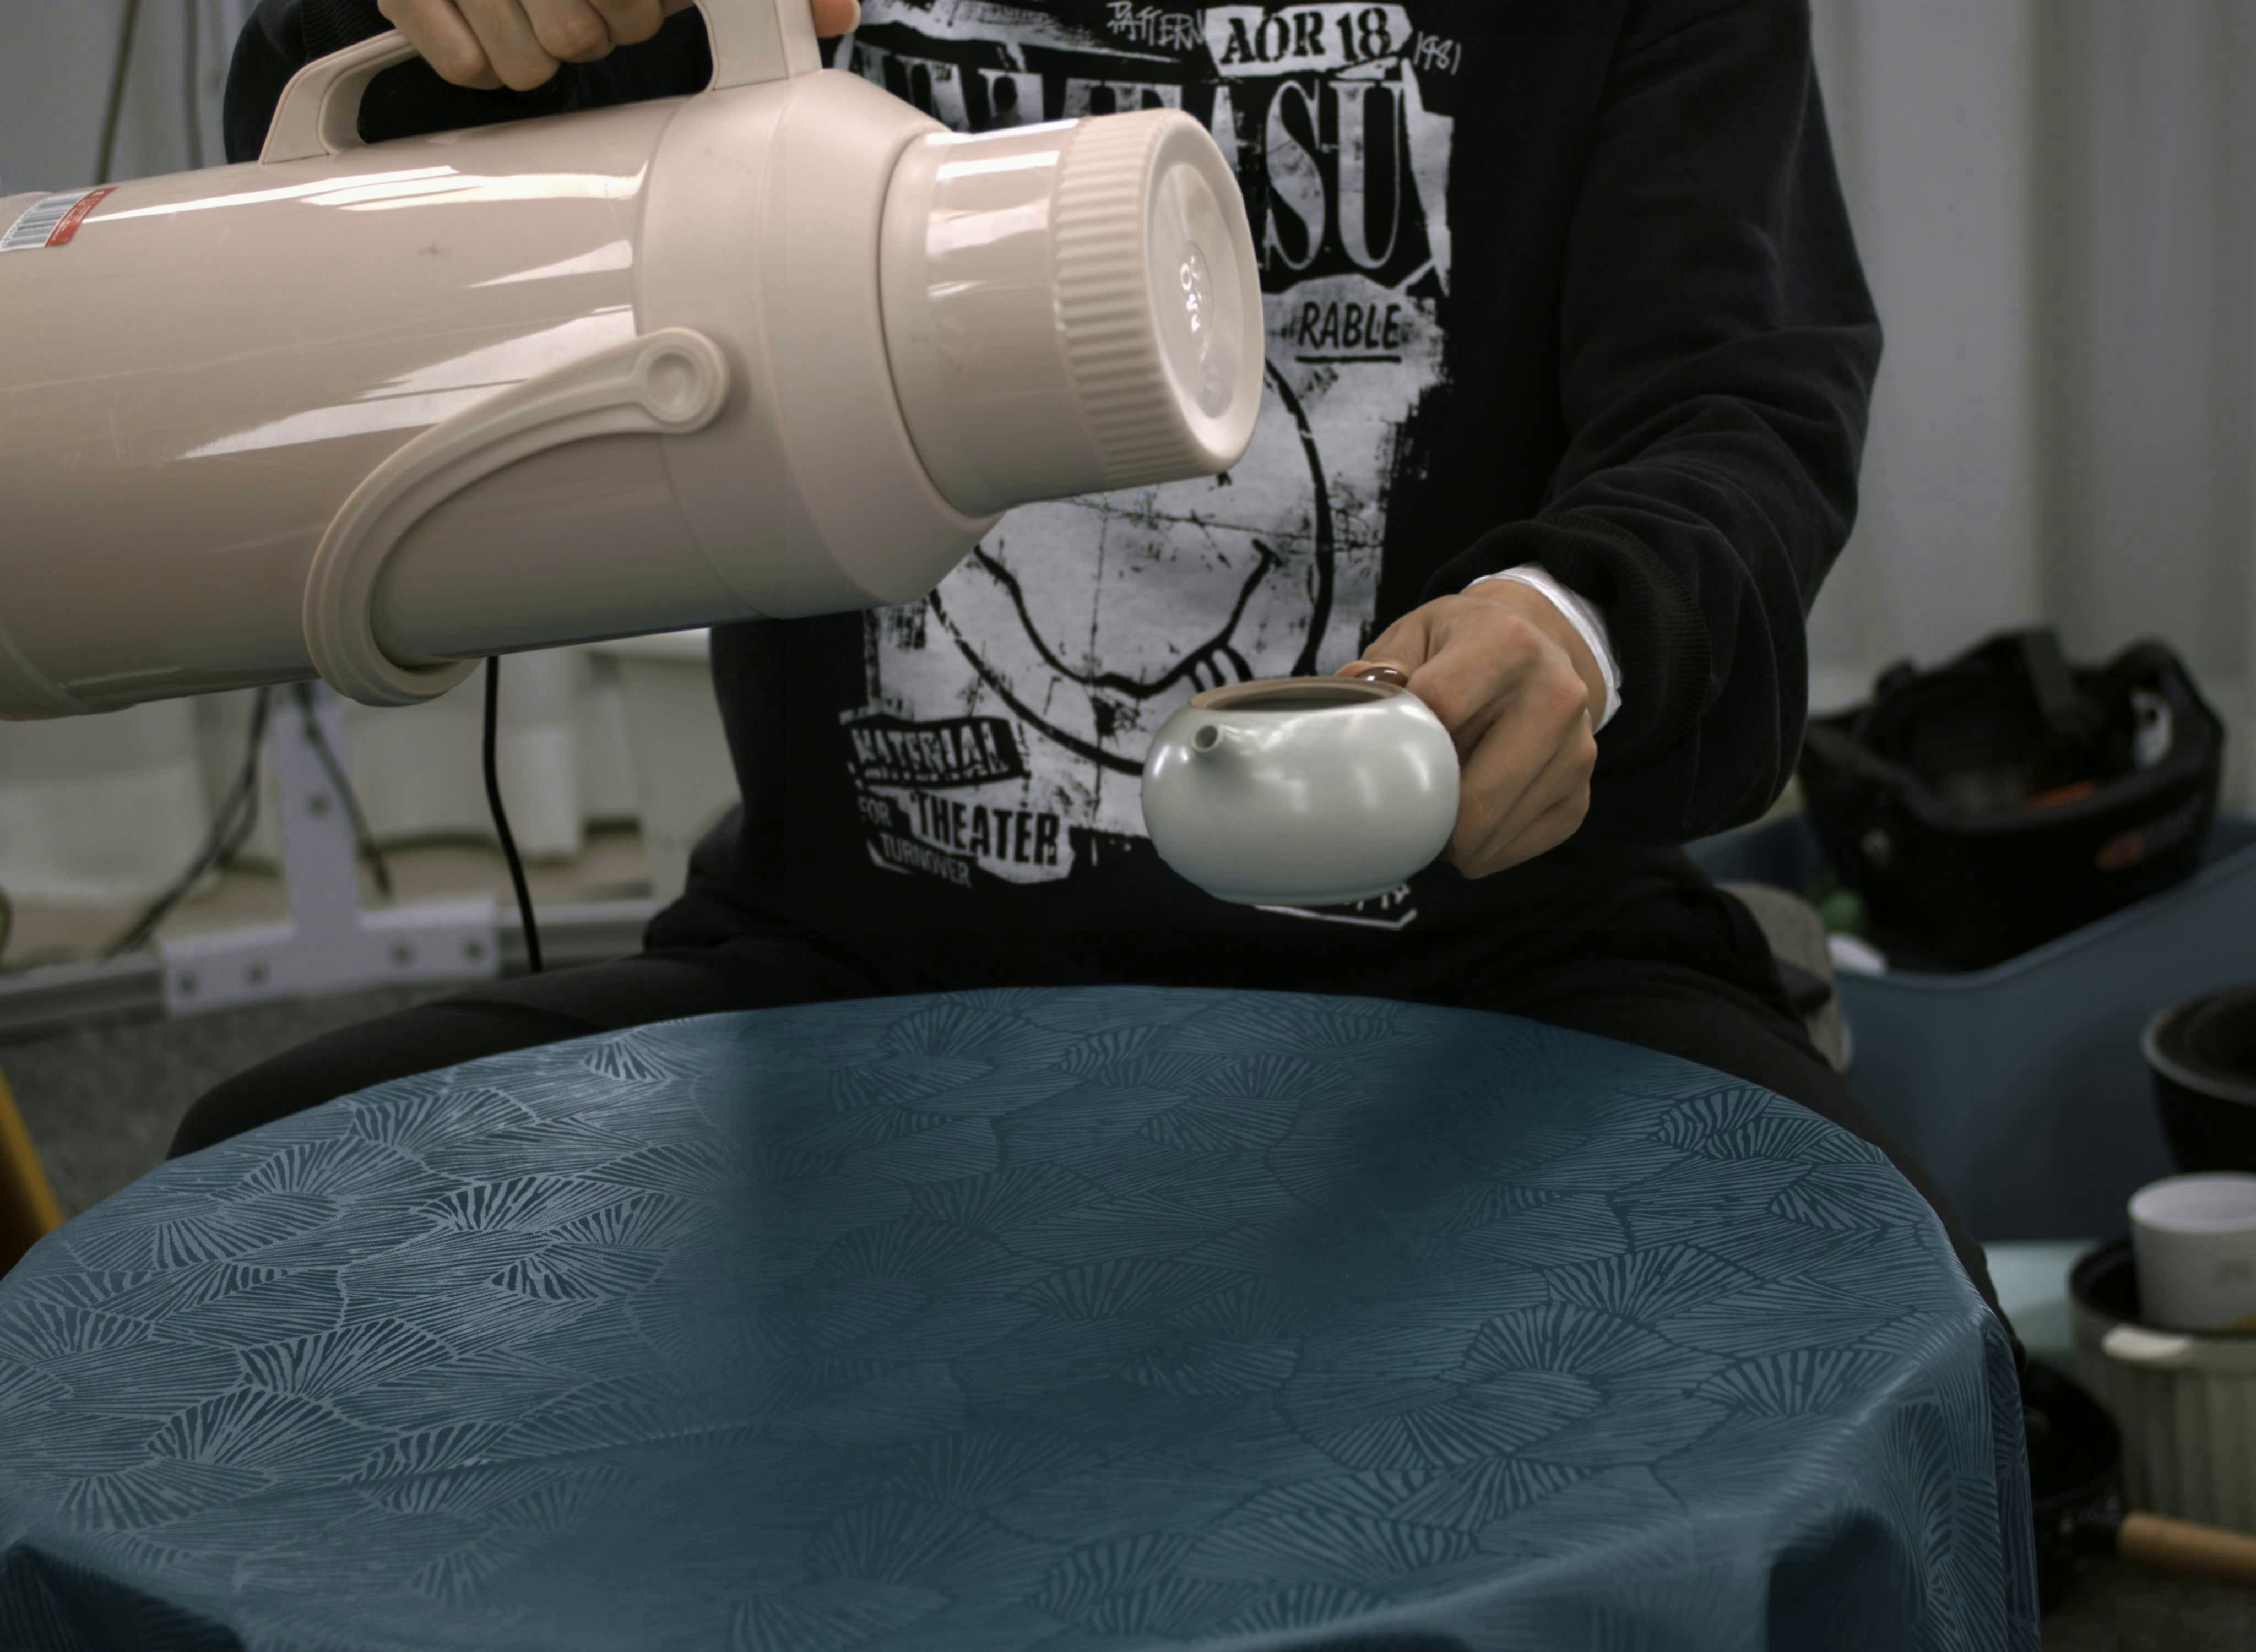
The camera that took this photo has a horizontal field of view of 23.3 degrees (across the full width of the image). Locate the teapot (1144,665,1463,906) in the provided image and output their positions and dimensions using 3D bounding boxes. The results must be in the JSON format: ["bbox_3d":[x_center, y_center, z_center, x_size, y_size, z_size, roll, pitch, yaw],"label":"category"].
[{"bbox_3d":[0.055,-0.012,1.575,0.092,0.059,0.128,-1,10,30],"label":"teapot"}]

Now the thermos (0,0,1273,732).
[{"bbox_3d":[-0.165,-0.144,1.617,0.406,0.207,0.175,-7,8,22],"label":"thermos"}]
